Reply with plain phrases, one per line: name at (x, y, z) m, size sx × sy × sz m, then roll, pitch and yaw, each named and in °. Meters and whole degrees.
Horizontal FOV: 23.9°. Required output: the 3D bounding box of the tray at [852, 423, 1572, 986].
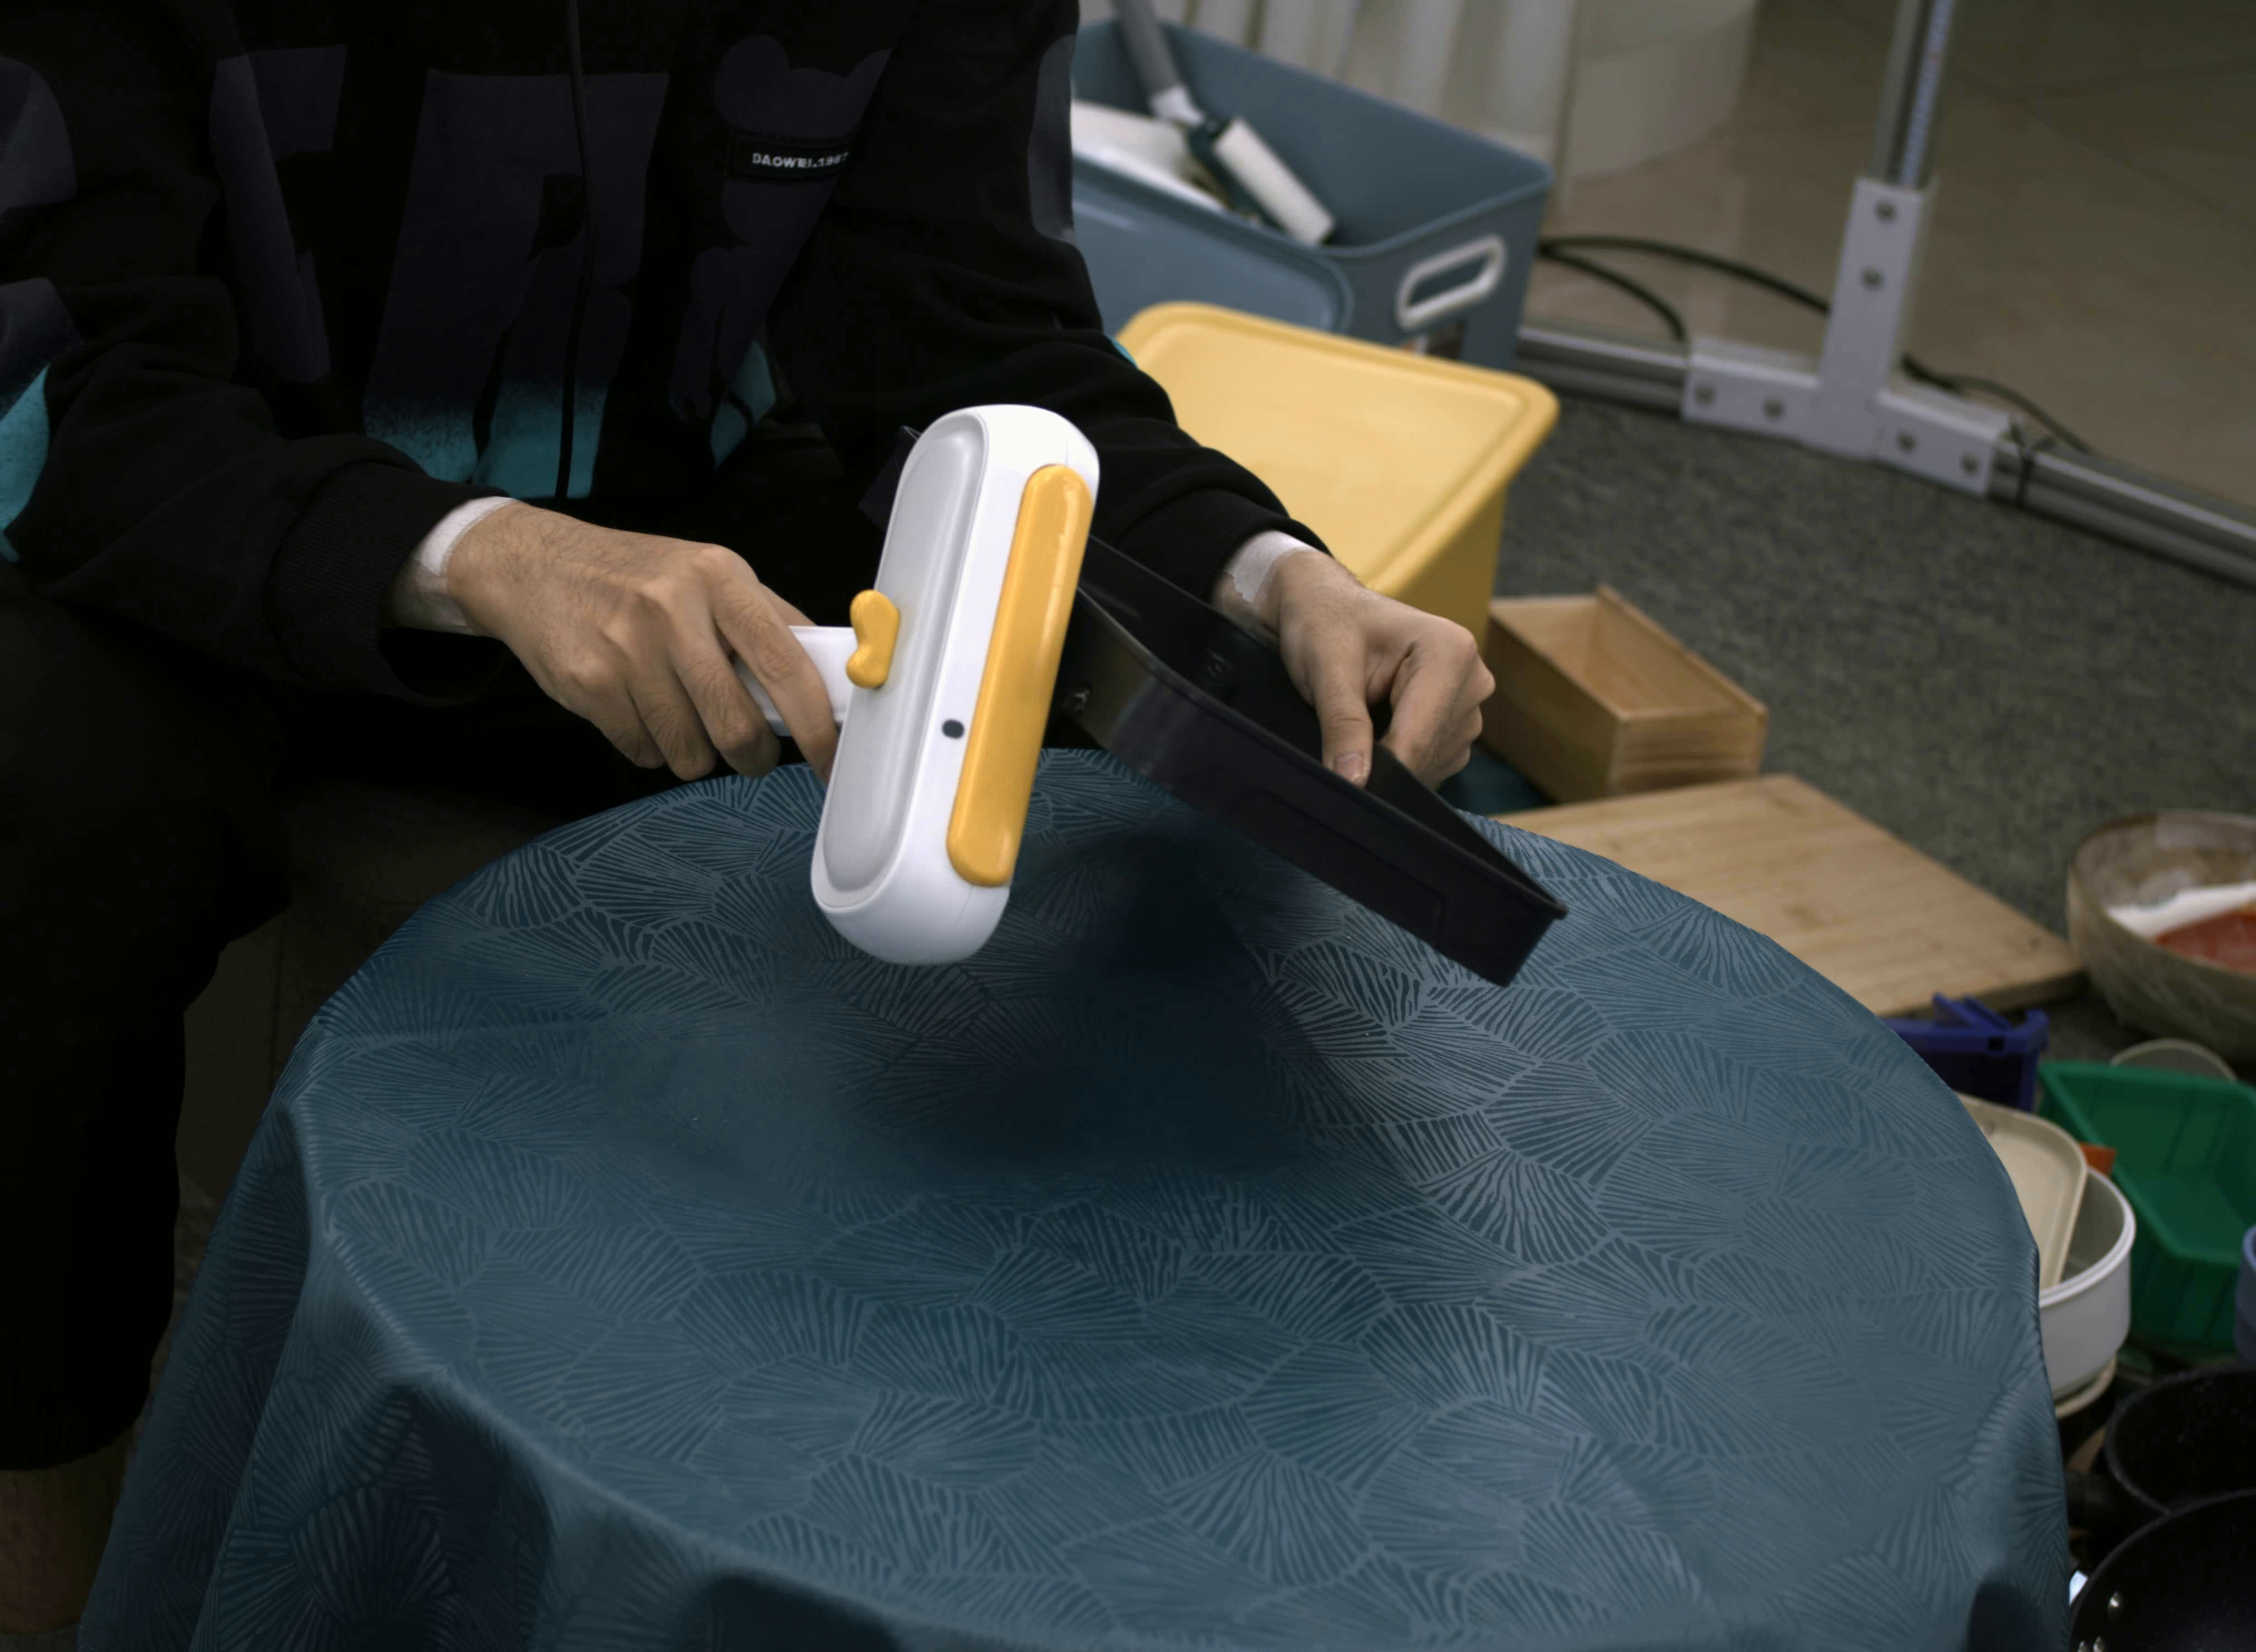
tray at (0.023, -0.047, 1.880) m, size 0.183 × 0.037 × 0.320 m, roll 30°, pitch 7°, yaw -28°

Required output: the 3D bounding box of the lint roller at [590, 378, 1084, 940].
lint roller at (-0.103, -0.052, 1.806) m, size 0.073 × 0.194 × 0.193 m, roll 20°, pitch -20°, yaw -40°
